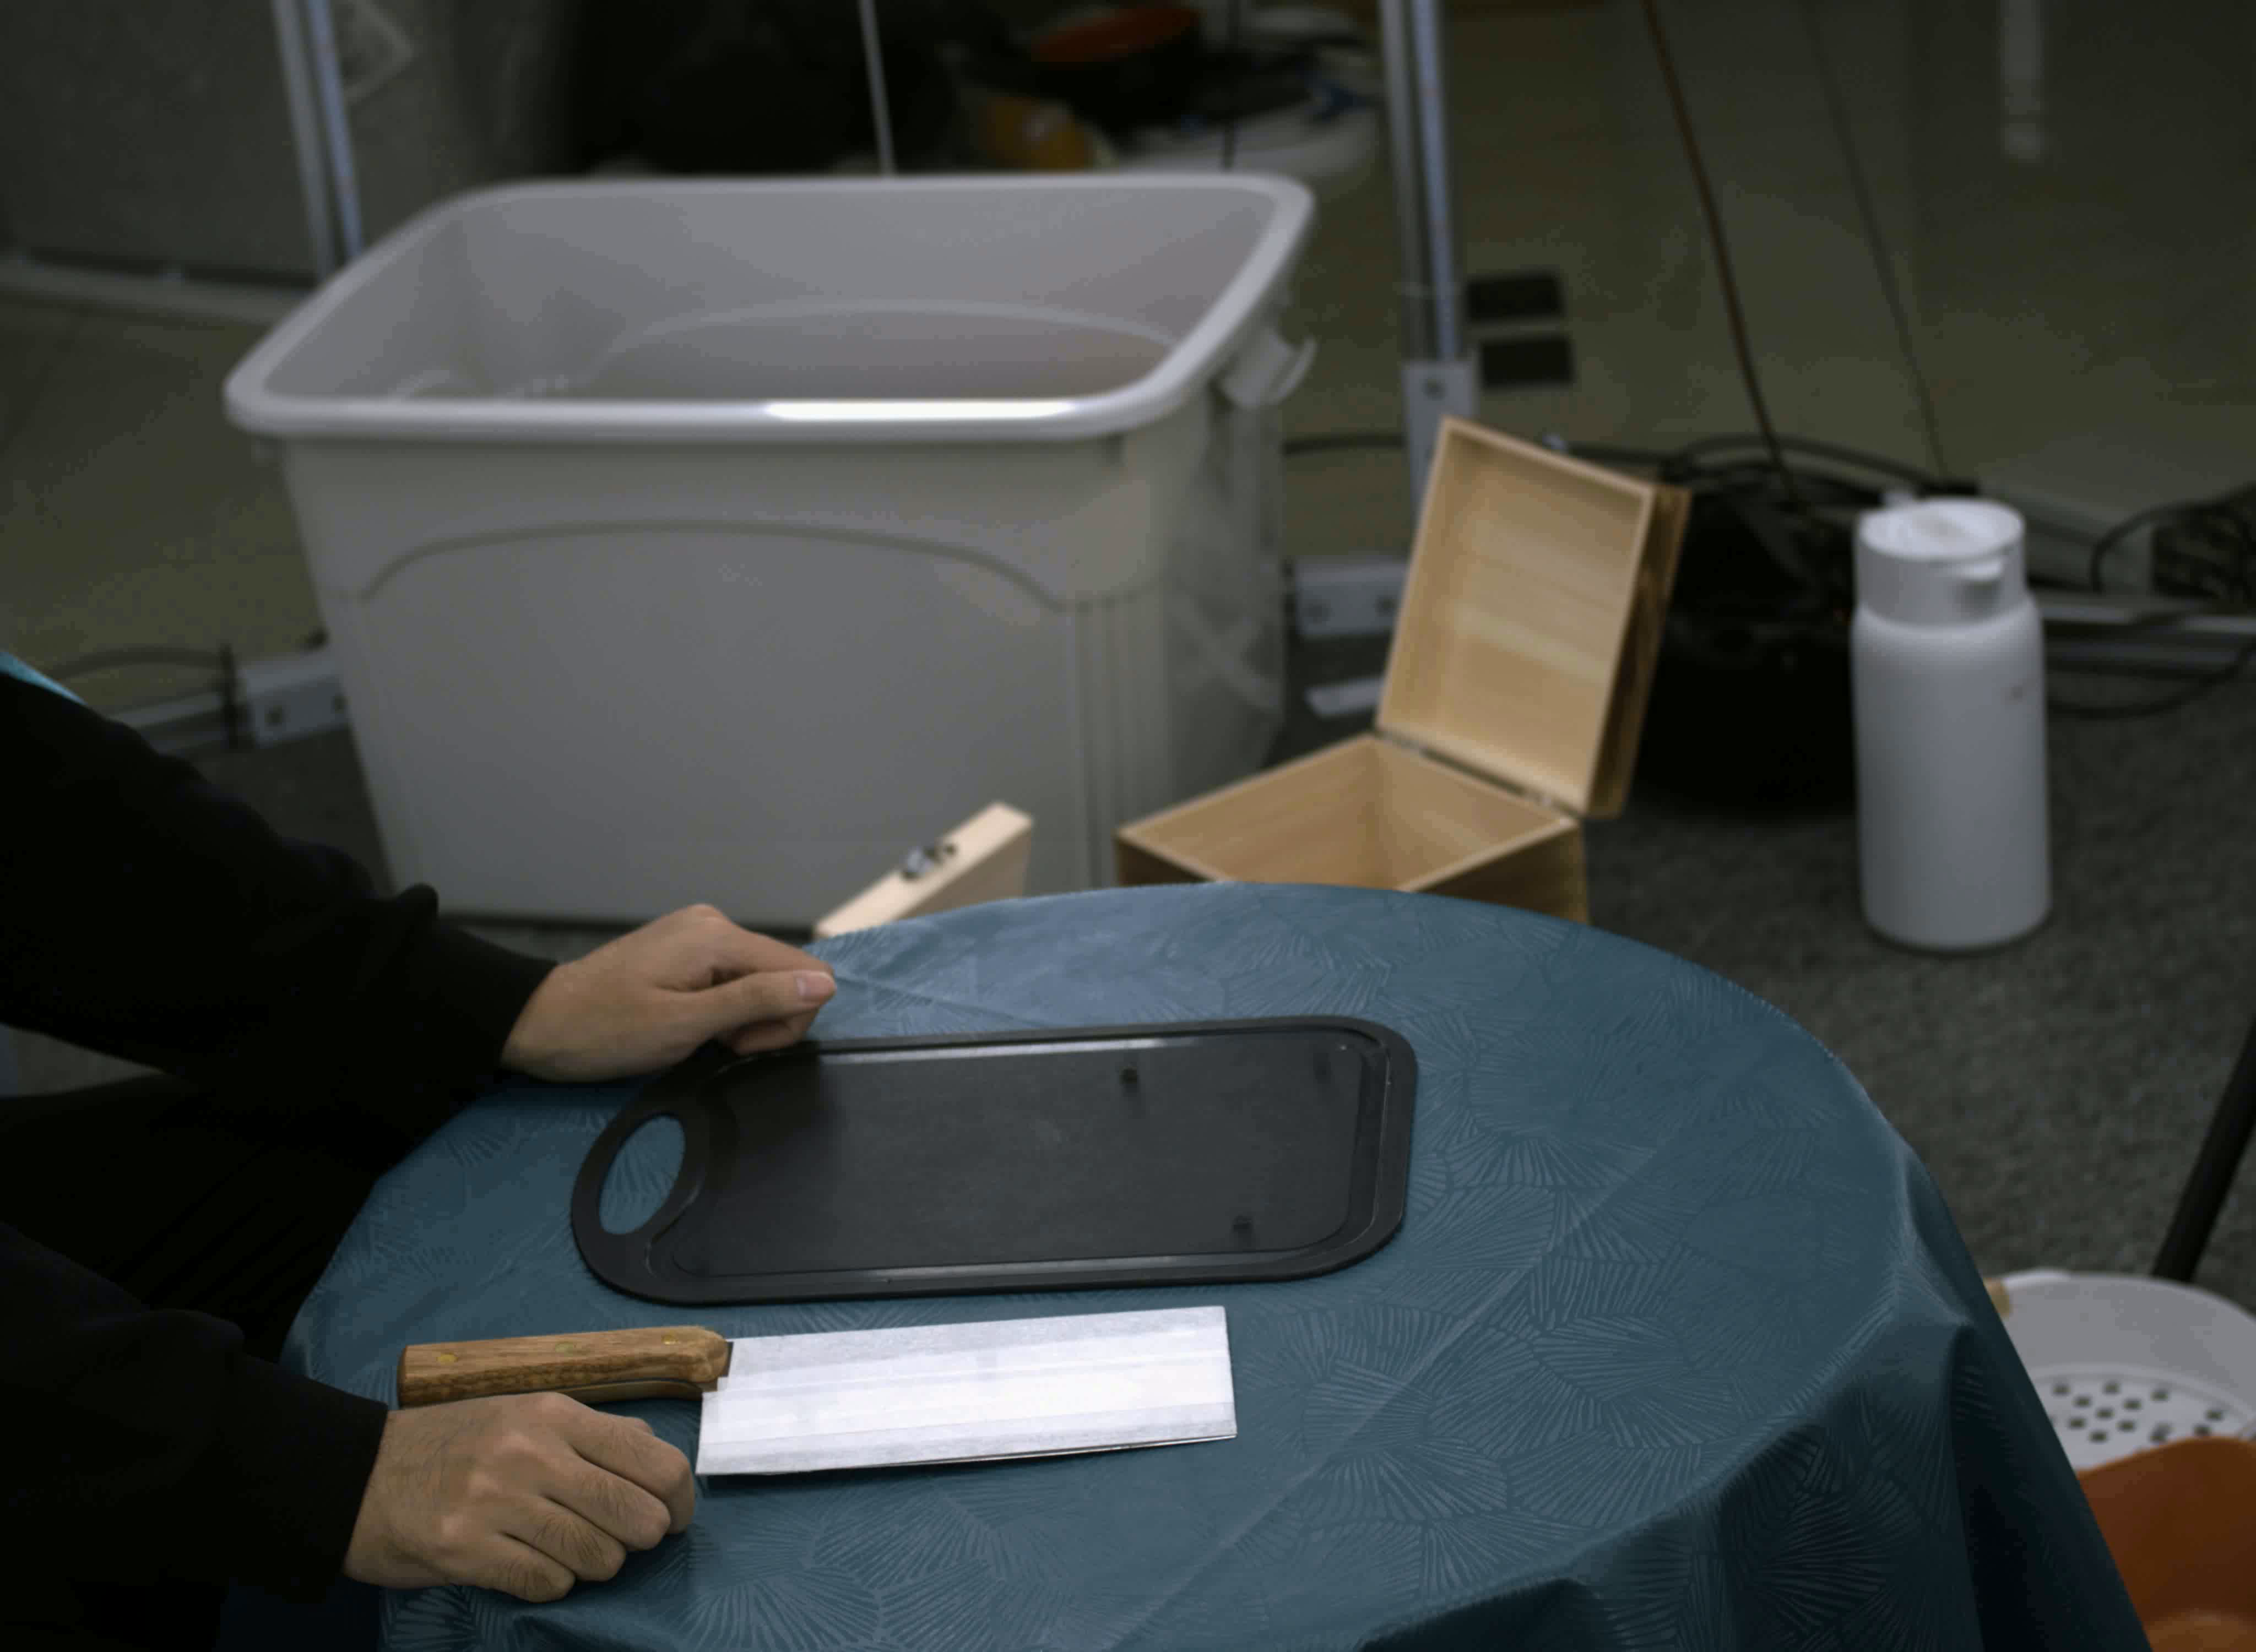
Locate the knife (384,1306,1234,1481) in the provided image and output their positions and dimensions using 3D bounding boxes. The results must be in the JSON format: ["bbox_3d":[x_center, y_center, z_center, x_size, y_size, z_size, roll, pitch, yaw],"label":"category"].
[{"bbox_3d":[-0.115,0.204,2.019,0.305,0.021,0.091,-4,26,0],"label":"knife"}]

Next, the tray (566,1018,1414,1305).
[{"bbox_3d":[-0.055,0.126,2.179,0.325,0.010,0.208,-3,25,8],"label":"tray"}]
